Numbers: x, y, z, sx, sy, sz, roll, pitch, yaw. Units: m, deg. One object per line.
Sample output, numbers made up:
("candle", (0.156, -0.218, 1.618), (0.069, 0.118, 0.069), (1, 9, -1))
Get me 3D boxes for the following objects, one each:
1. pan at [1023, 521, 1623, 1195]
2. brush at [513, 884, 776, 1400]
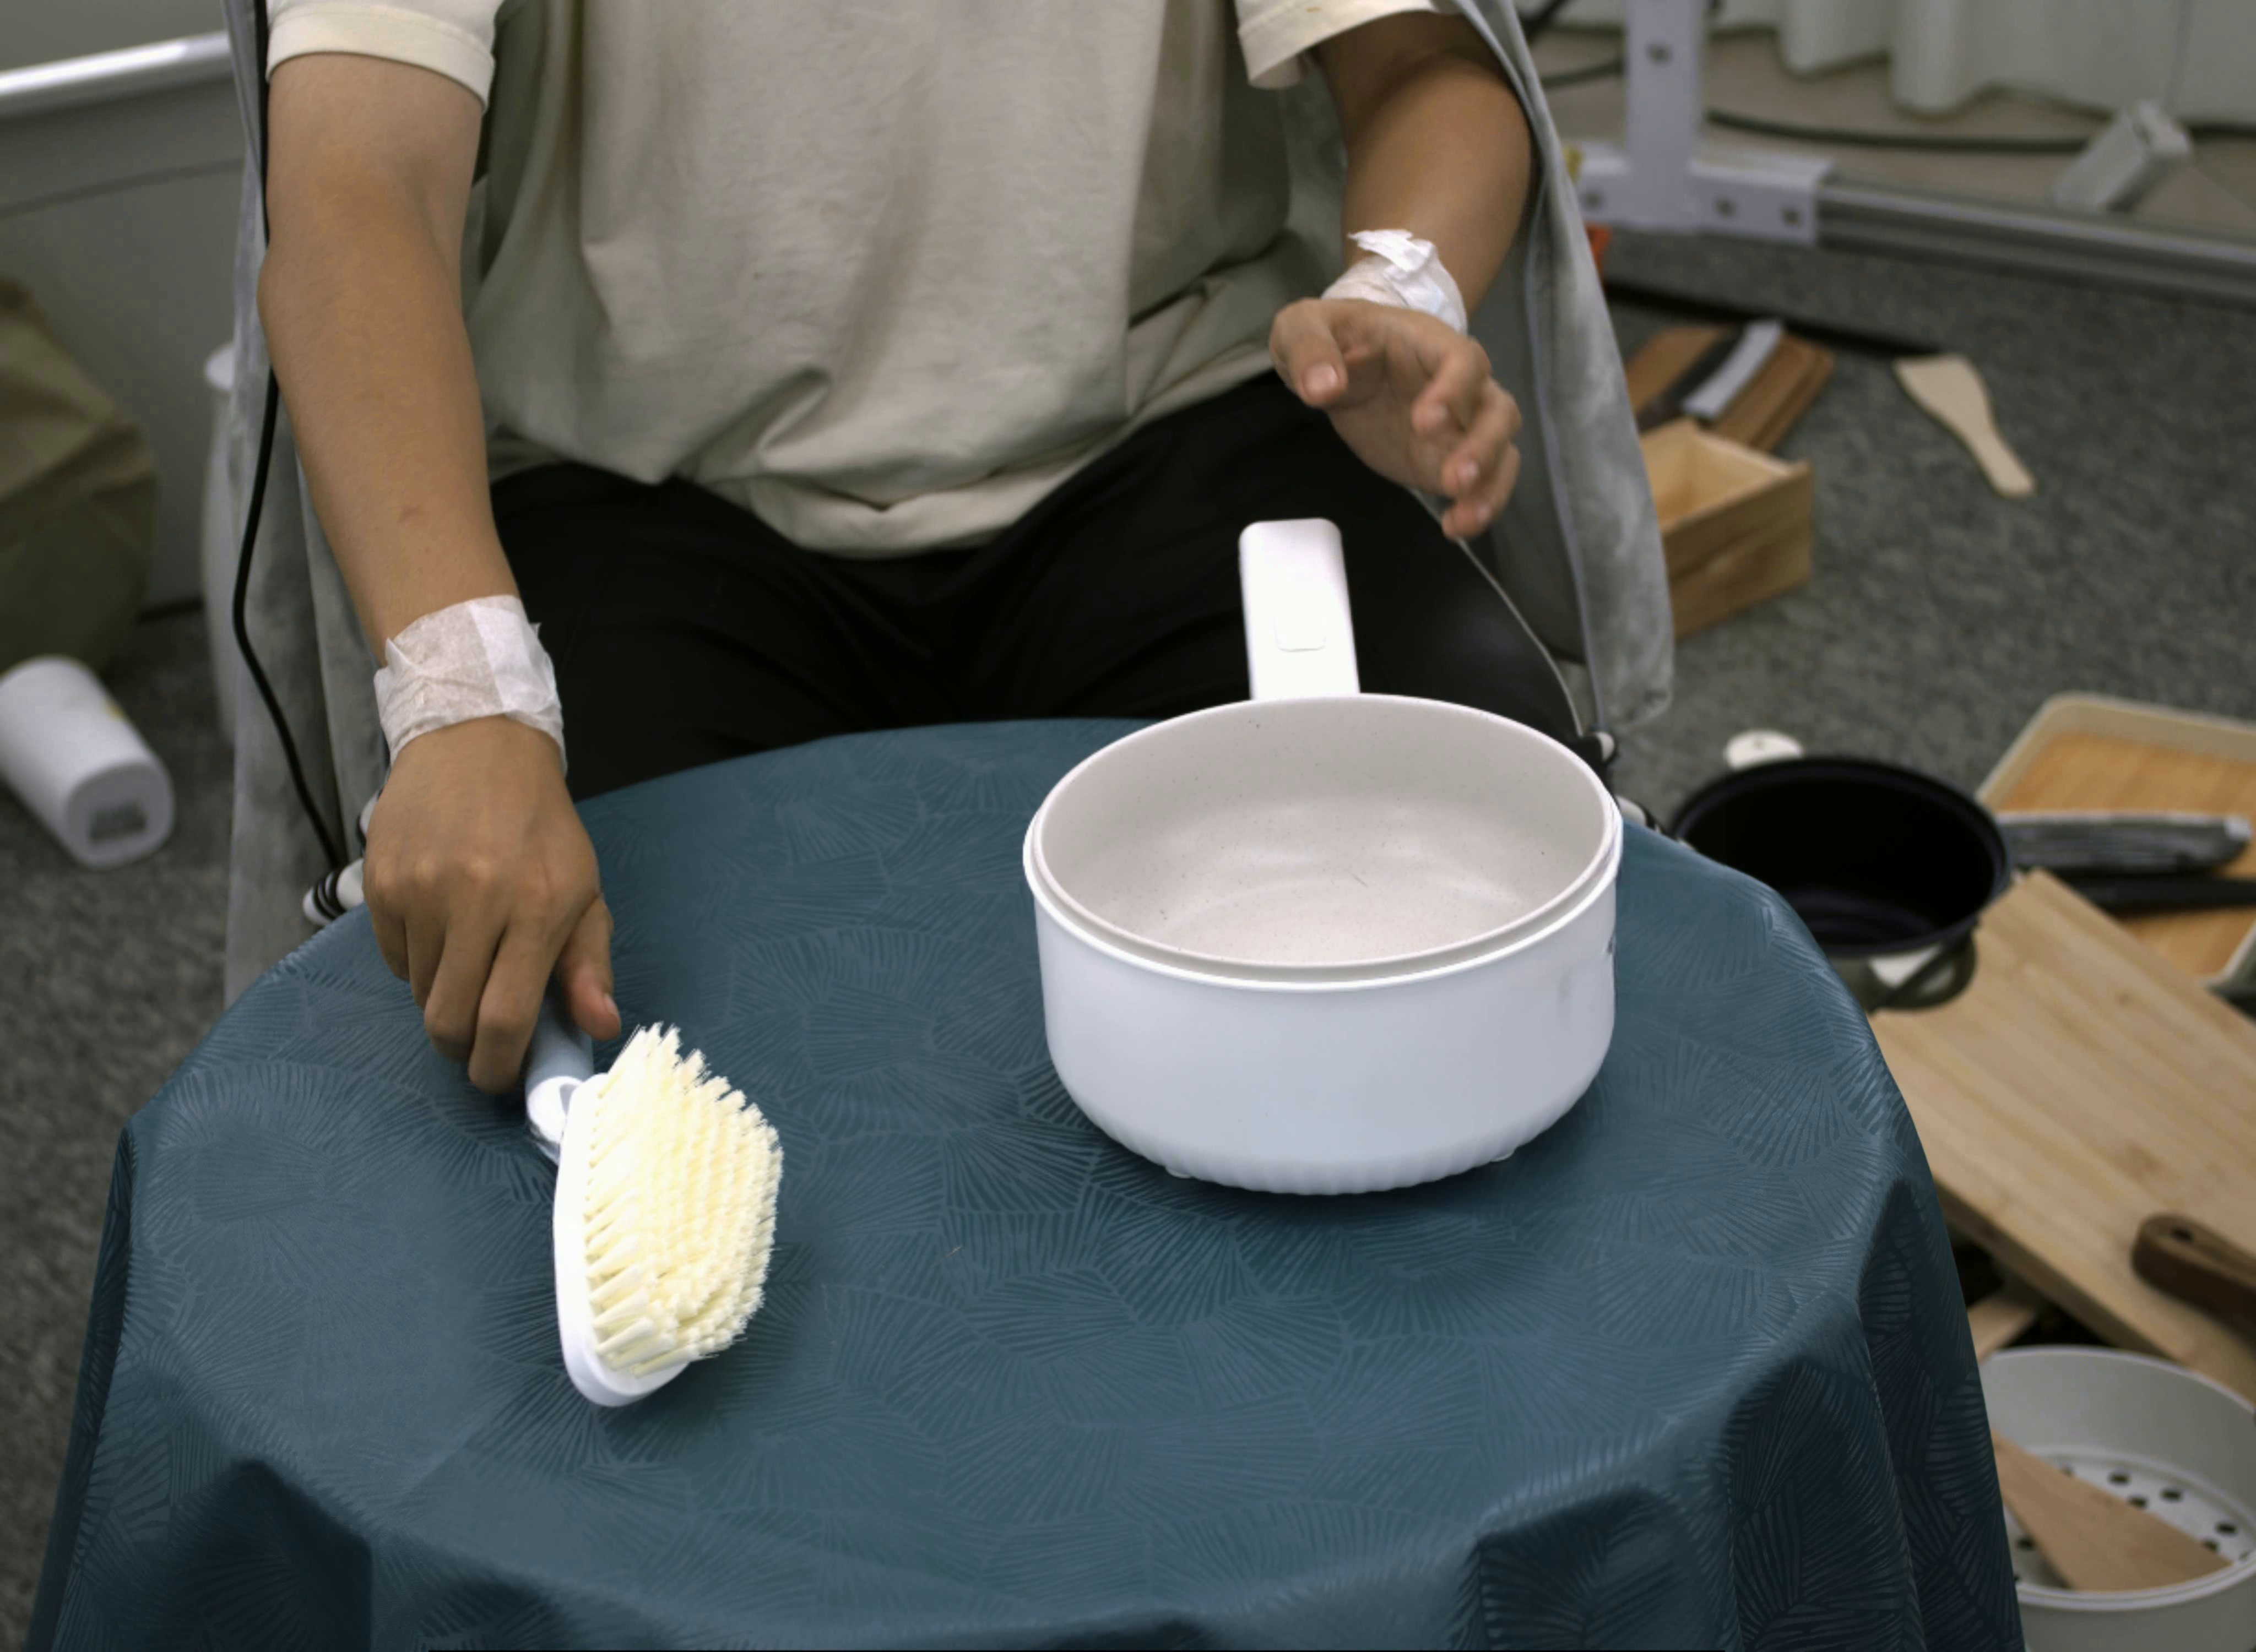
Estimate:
("pan", (0.066, 0.008, 1.966), (0.200, 0.101, 0.360), (-3, 26, 0))
("brush", (-0.163, 0.079, 1.876), (0.084, 0.082, 0.330), (-5, 27, -5))
